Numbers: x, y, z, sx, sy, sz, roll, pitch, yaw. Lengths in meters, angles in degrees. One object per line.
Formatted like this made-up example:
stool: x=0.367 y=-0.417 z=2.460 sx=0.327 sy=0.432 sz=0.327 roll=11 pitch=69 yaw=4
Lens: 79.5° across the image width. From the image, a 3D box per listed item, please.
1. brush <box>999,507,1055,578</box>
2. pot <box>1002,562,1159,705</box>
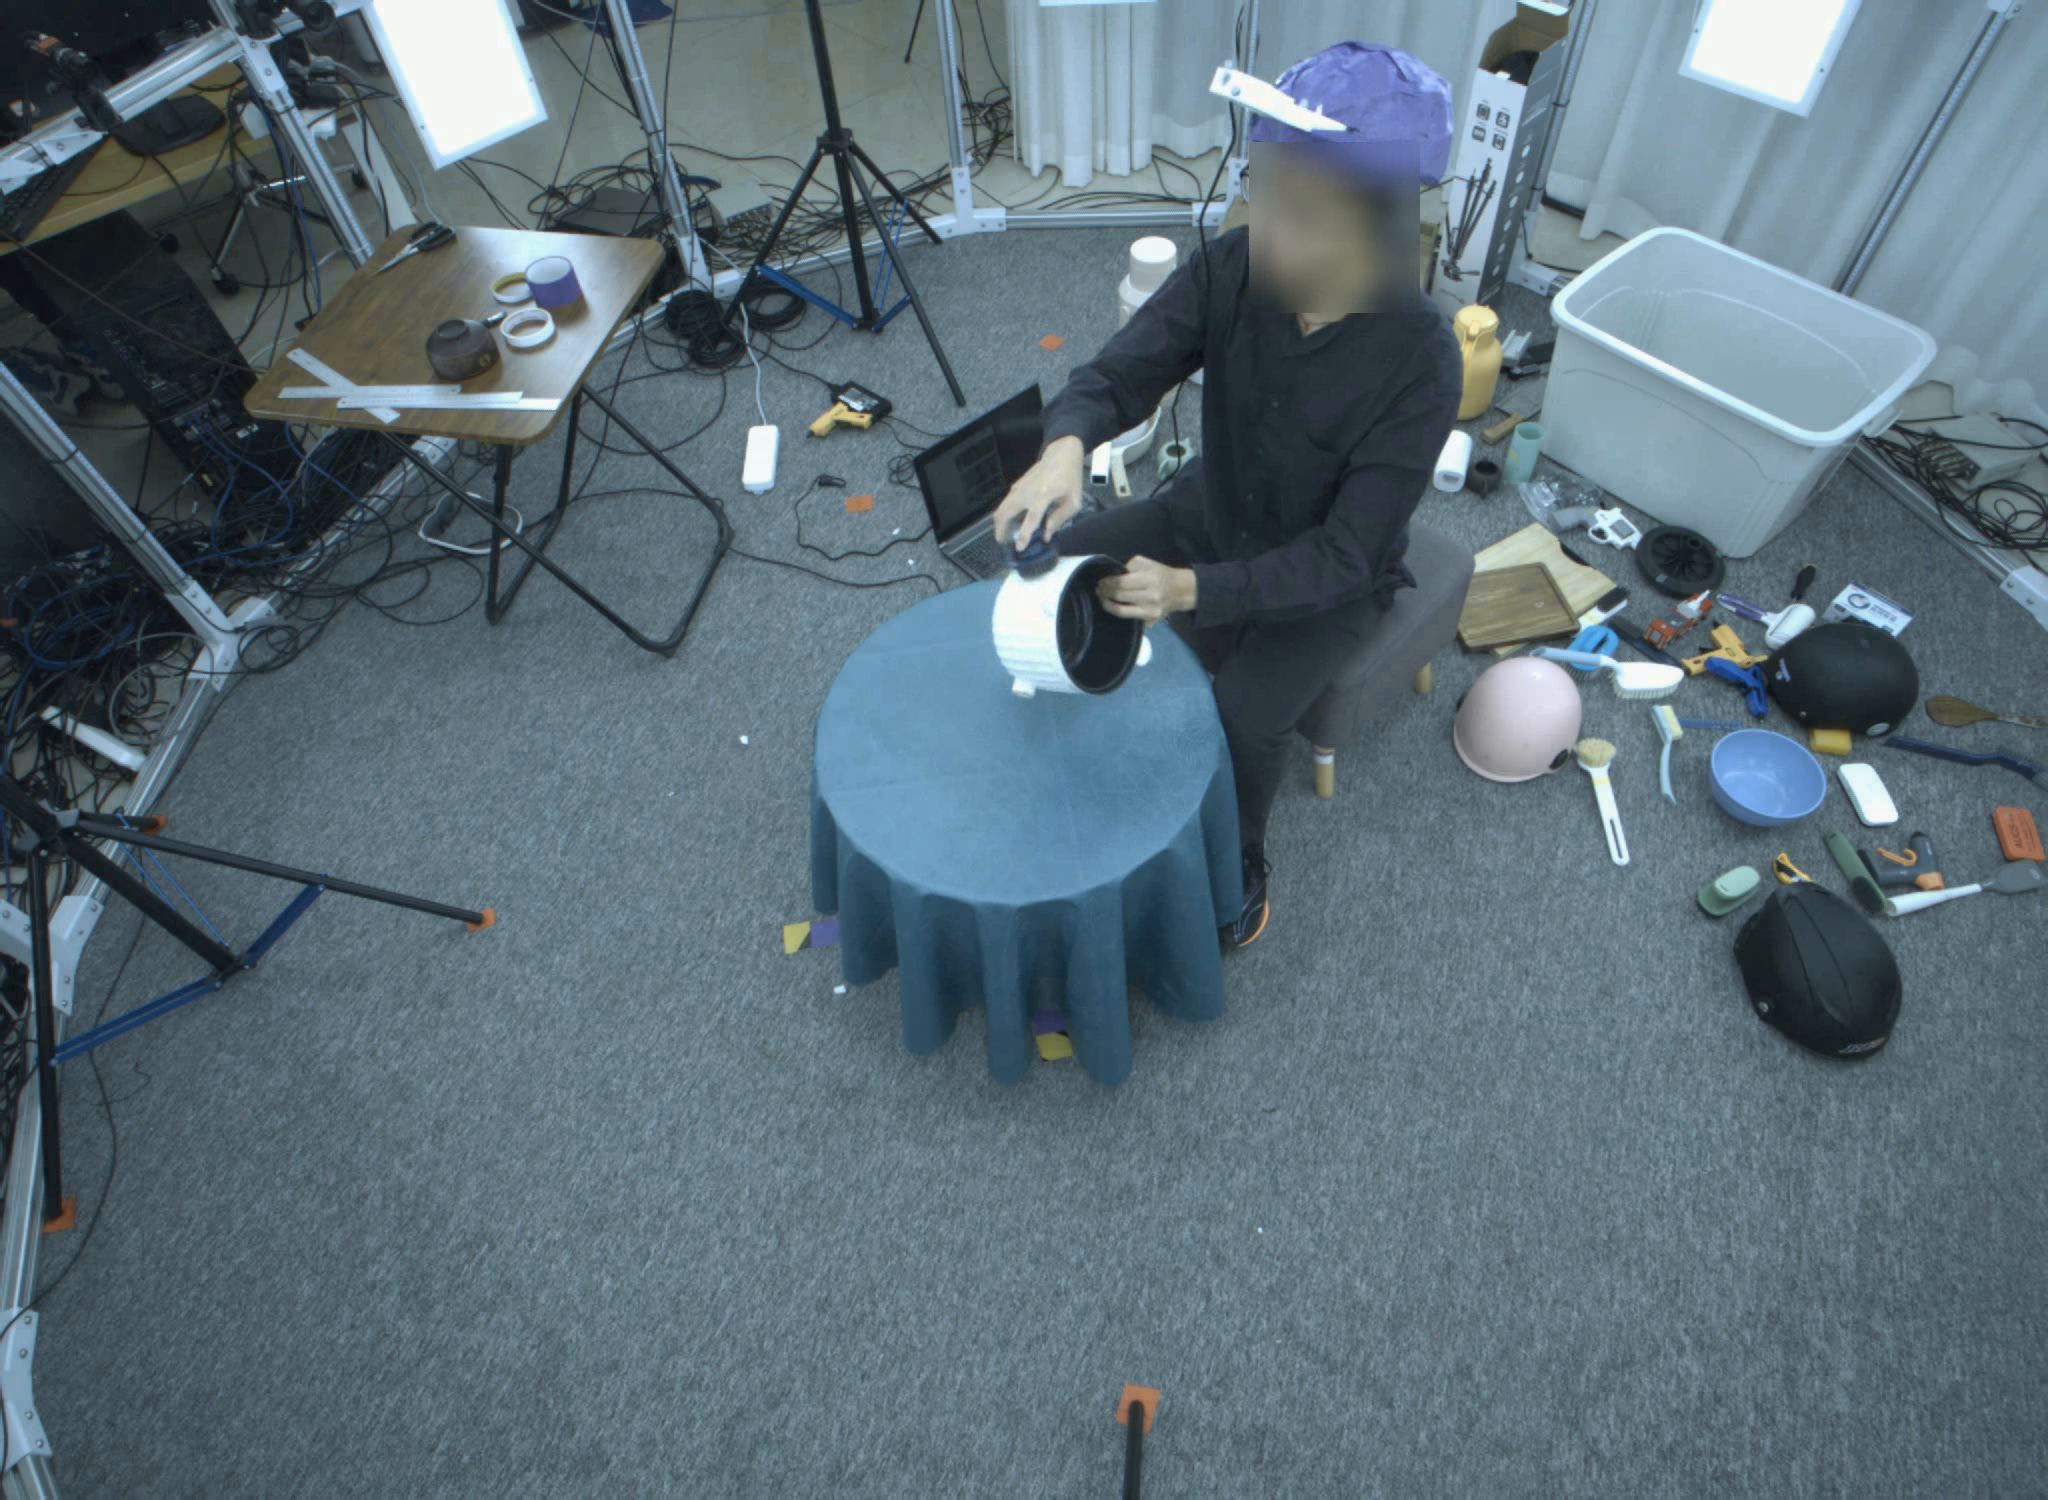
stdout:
brush: x=0.005 y=-0.270 z=1.602 sx=0.067 sy=0.062 sz=0.120 roll=-16 pitch=30 yaw=15
pot: x=0.063 y=-0.154 z=1.640 sx=0.139 sy=0.246 sz=0.190 roll=4 pitch=79 yaw=40
